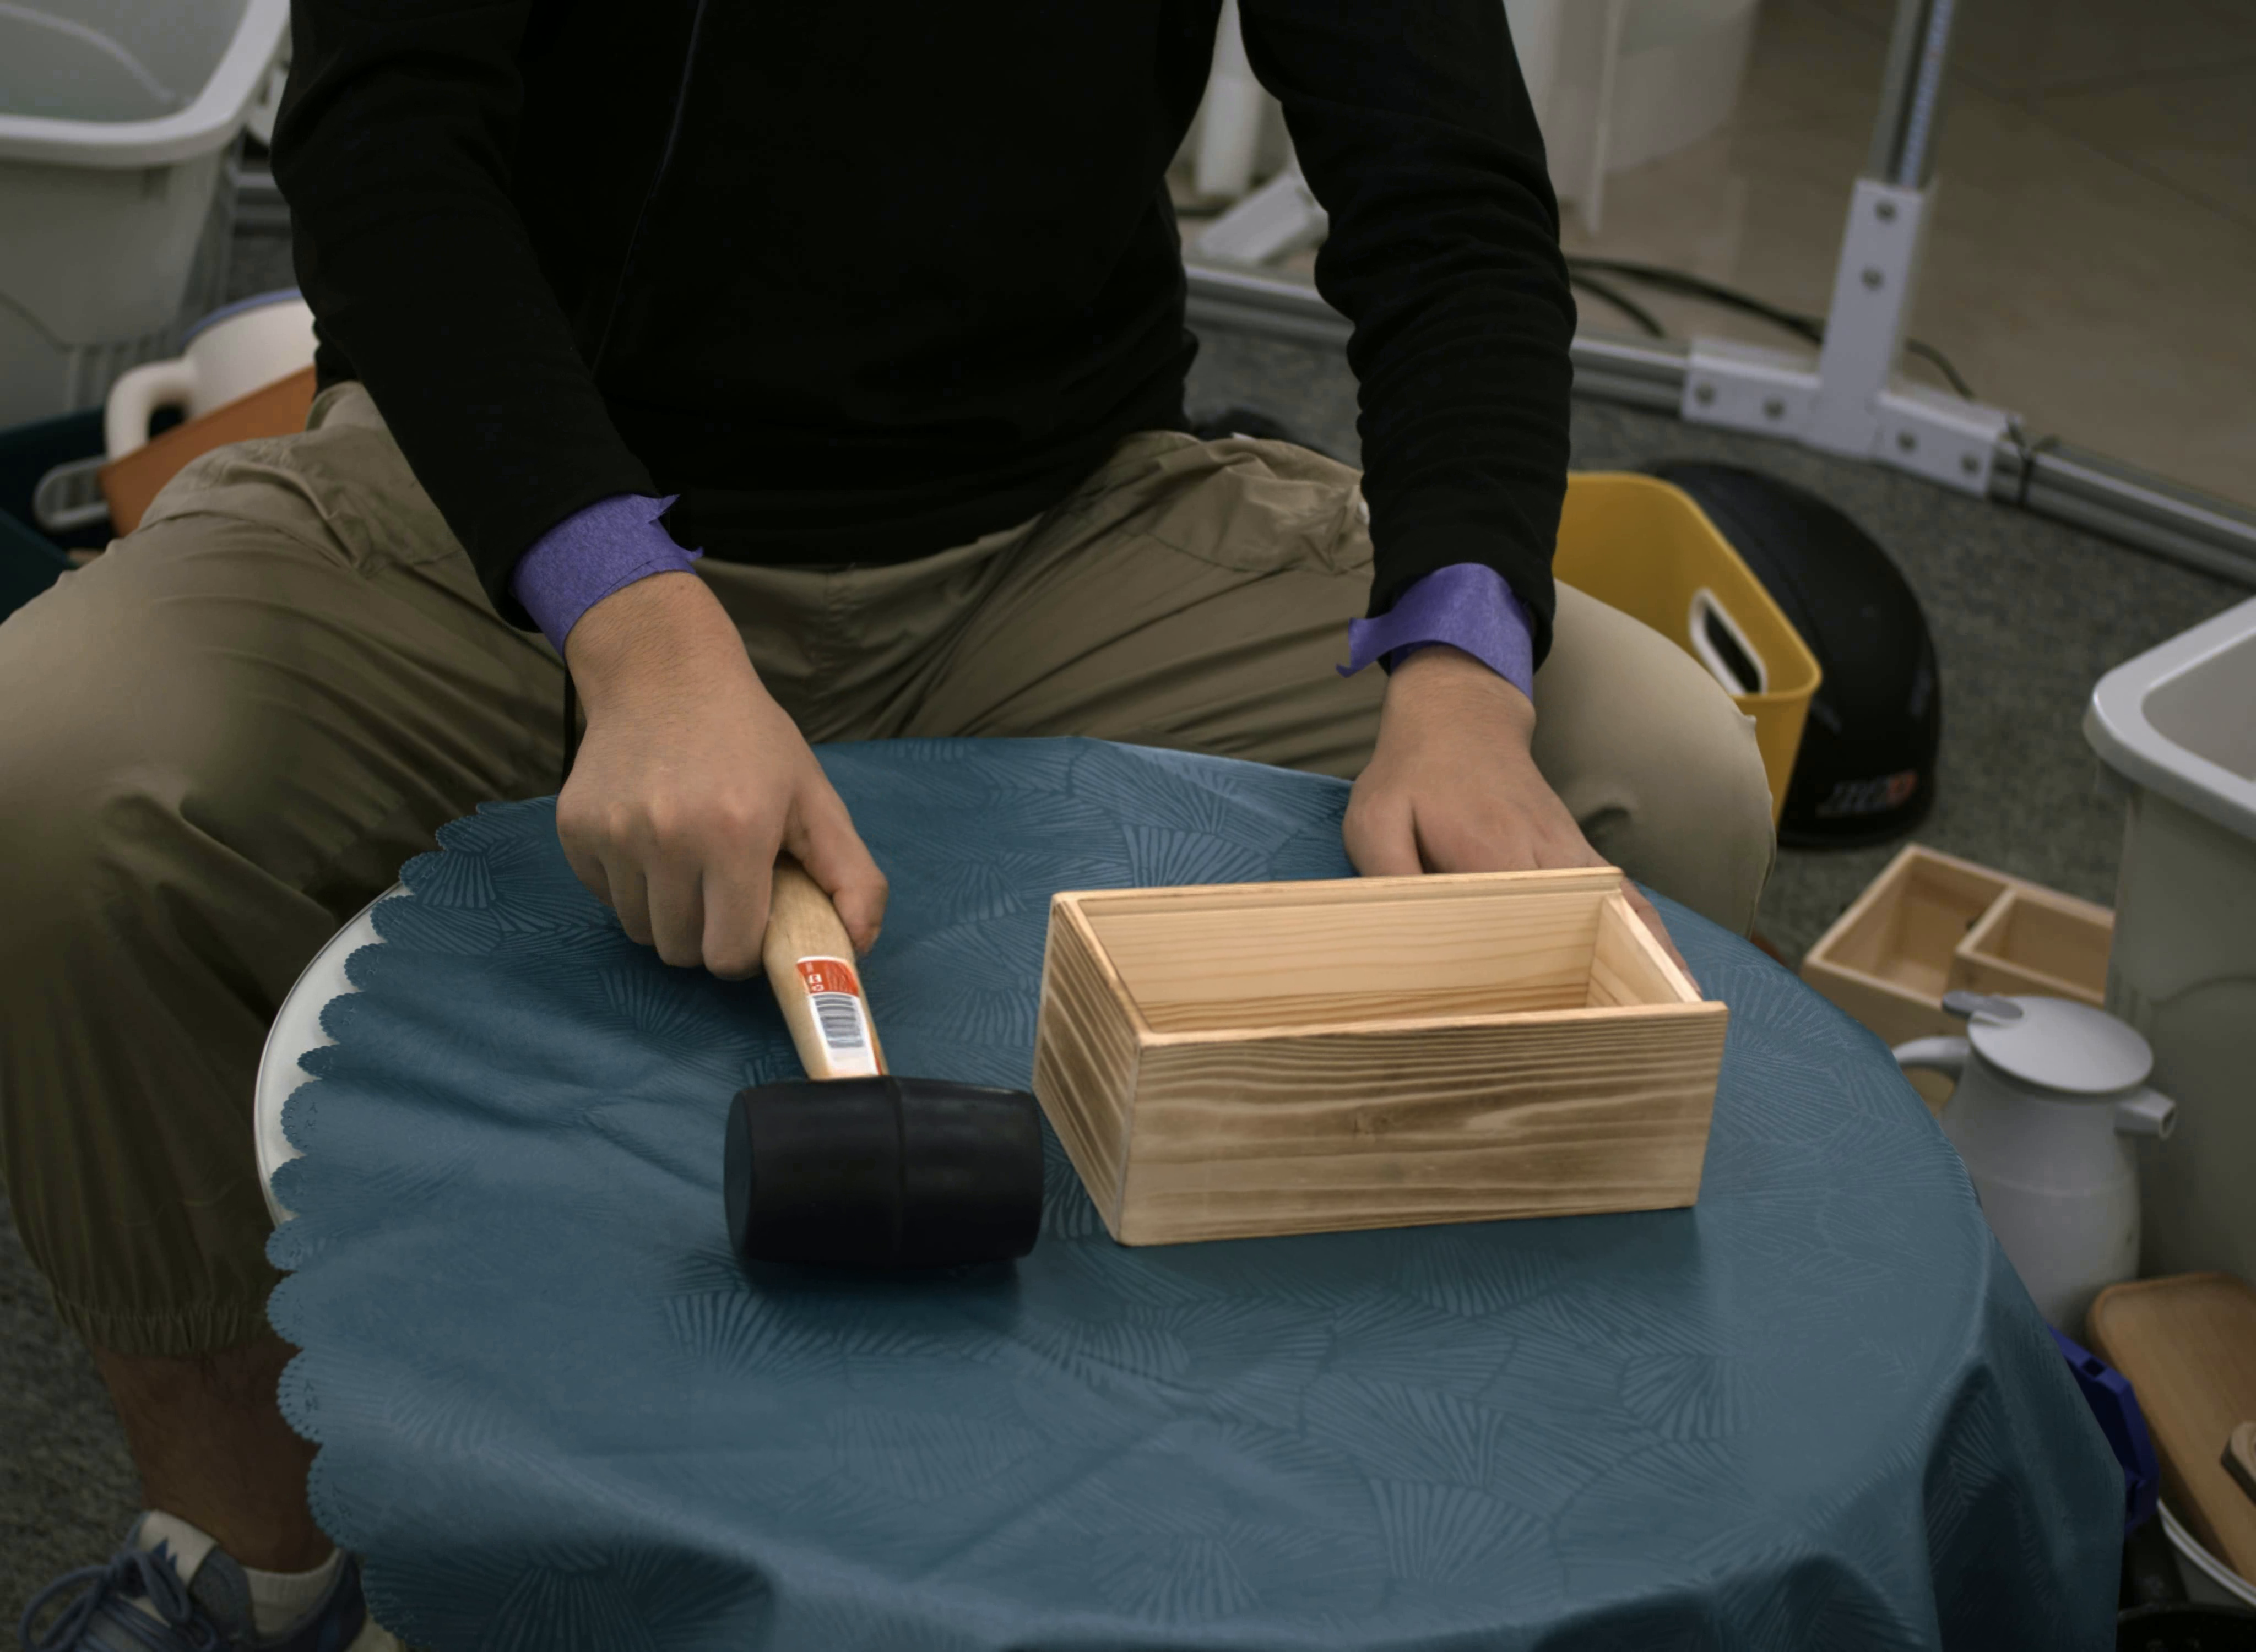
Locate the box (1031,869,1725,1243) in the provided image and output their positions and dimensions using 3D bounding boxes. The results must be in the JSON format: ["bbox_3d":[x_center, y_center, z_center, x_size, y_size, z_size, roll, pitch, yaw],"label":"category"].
[{"bbox_3d":[0.084,0.077,1.828,0.210,0.080,0.108,-2,28,-17],"label":"box"}]

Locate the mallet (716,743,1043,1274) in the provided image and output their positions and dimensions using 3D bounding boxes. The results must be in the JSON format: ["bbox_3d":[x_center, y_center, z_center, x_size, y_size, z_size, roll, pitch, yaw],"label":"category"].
[{"bbox_3d":[-0.107,0.047,1.855,0.101,0.064,0.342,5,28,-14],"label":"mallet"}]
